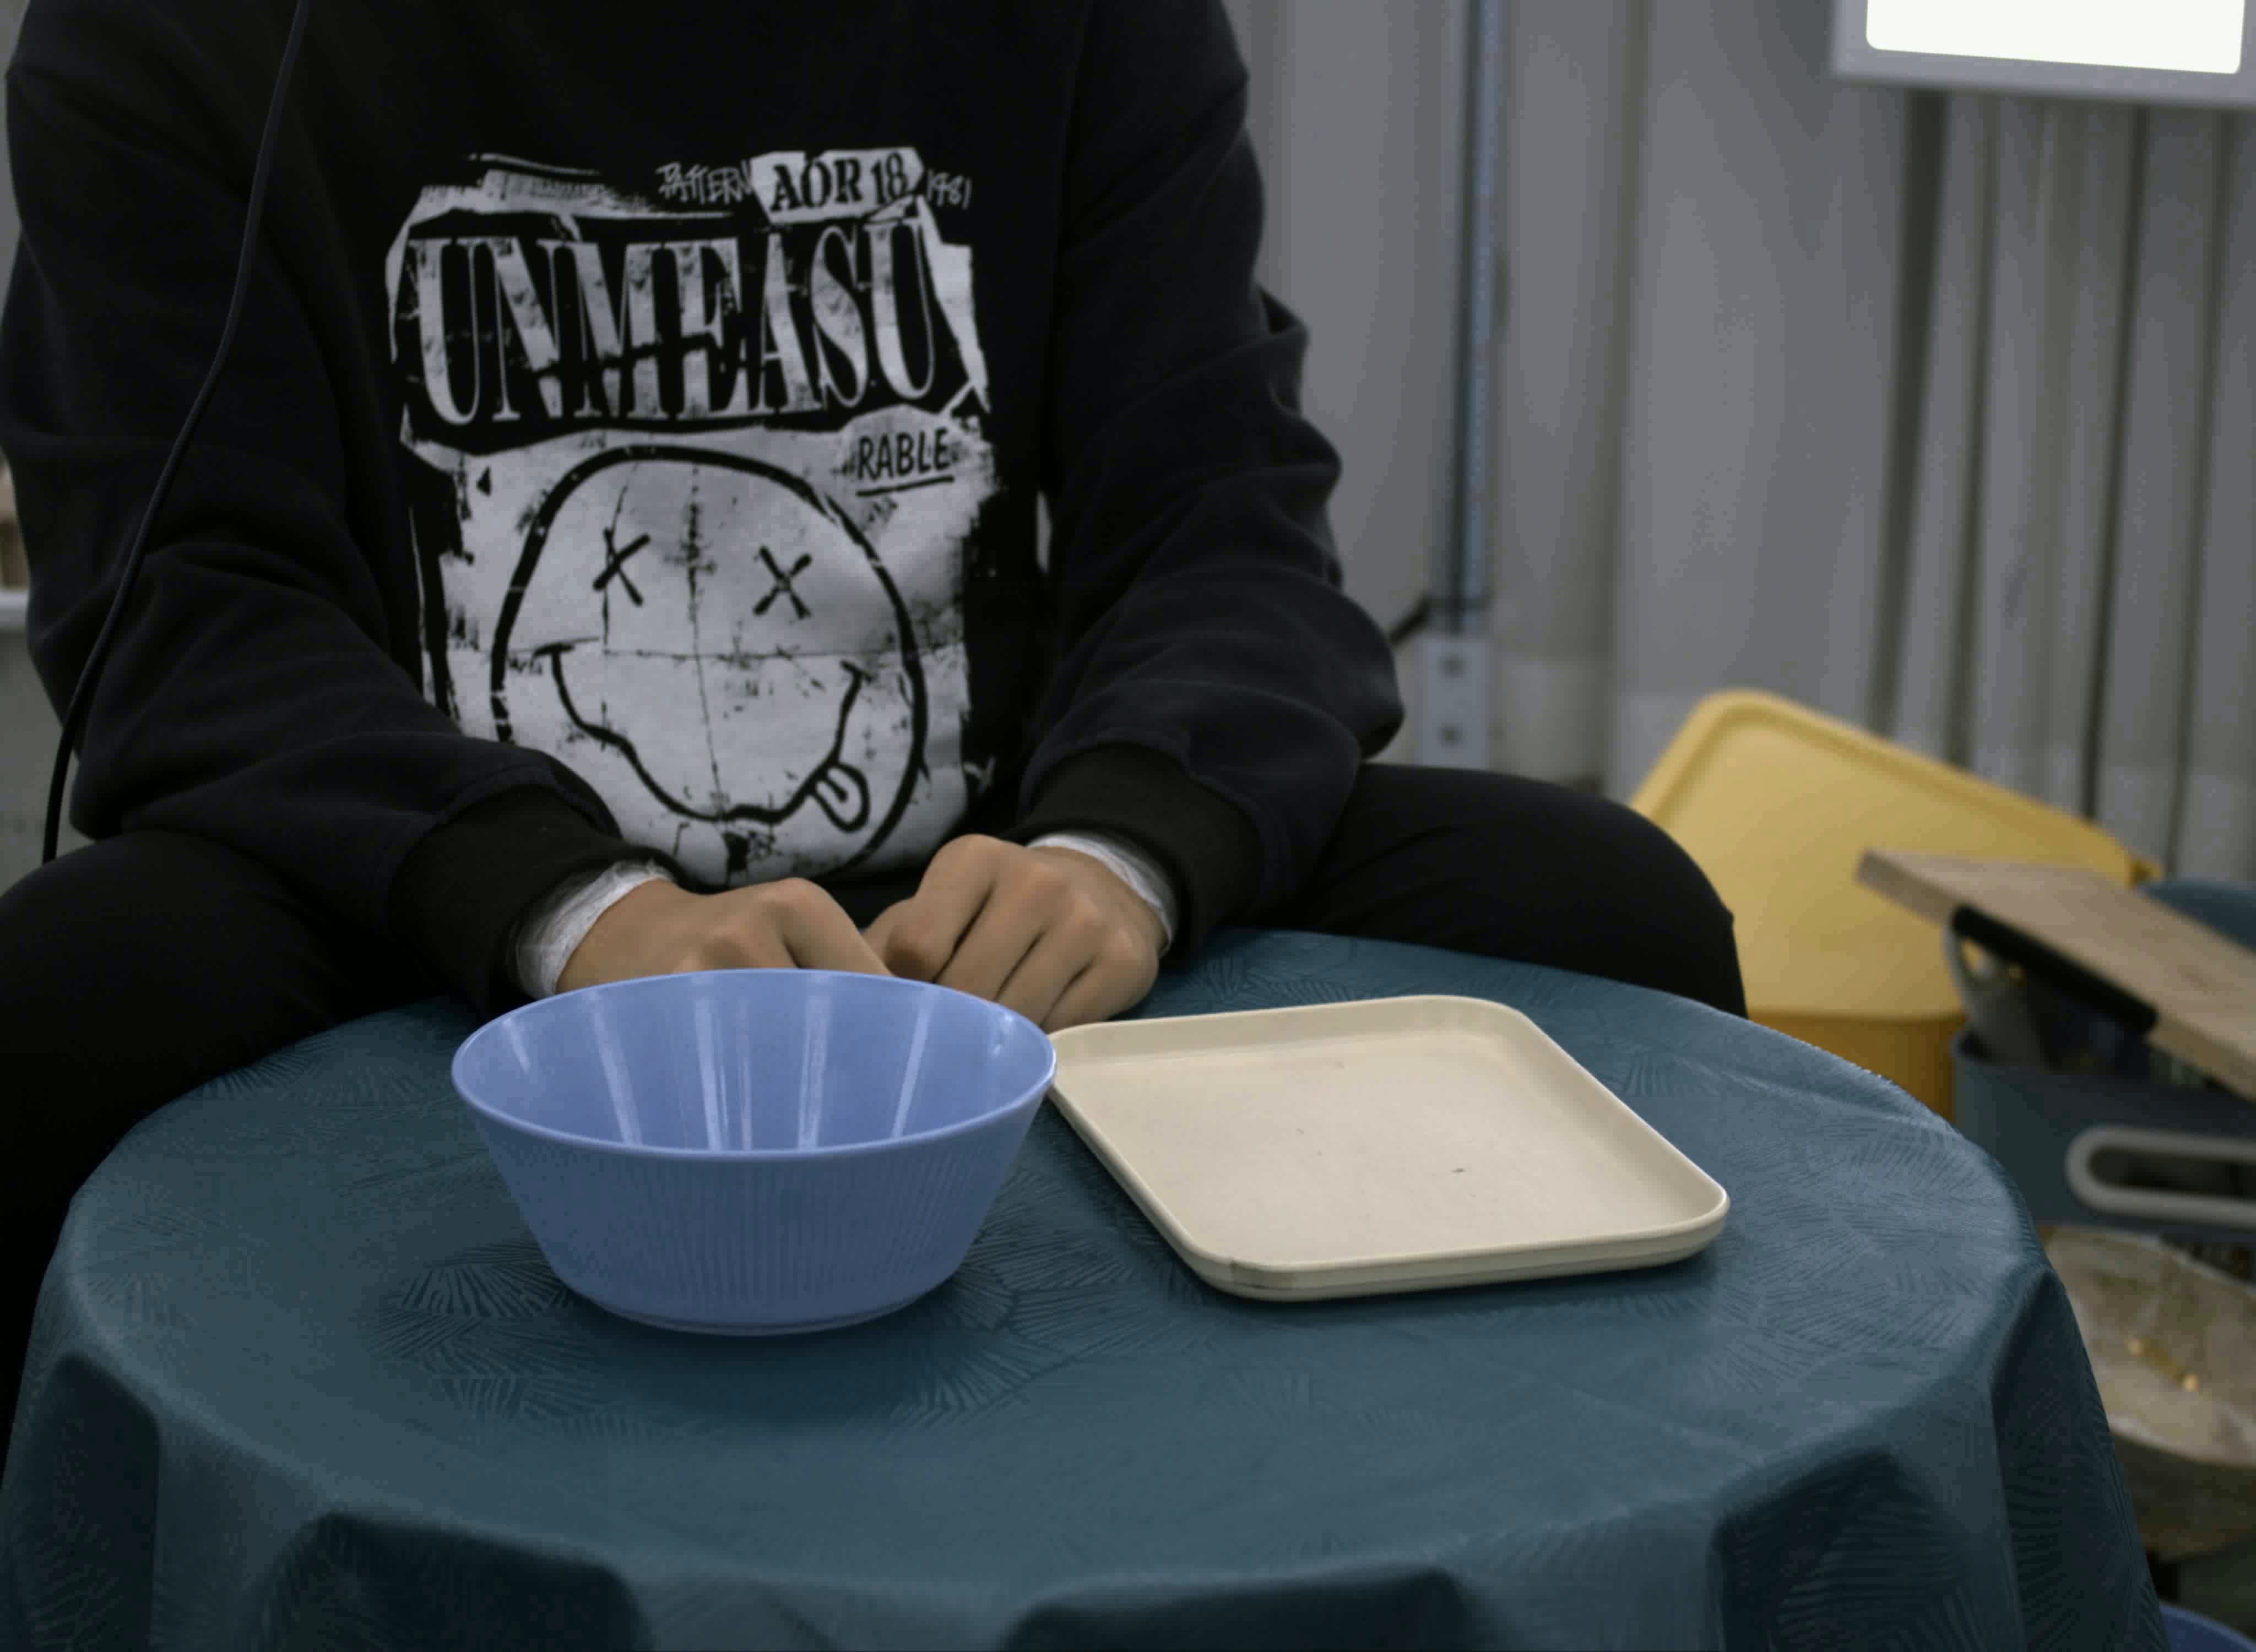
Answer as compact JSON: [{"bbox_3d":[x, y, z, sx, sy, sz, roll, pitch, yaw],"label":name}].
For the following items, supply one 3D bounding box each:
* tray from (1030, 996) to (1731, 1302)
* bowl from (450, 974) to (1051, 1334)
[{"bbox_3d":[0.074,0.099,1.644,0.171,0.017,0.237,-3,16,-16],"label":"tray"},{"bbox_3d":[-0.110,0.098,1.542,0.175,0.071,0.175,2,16,0],"label":"bowl"}]
